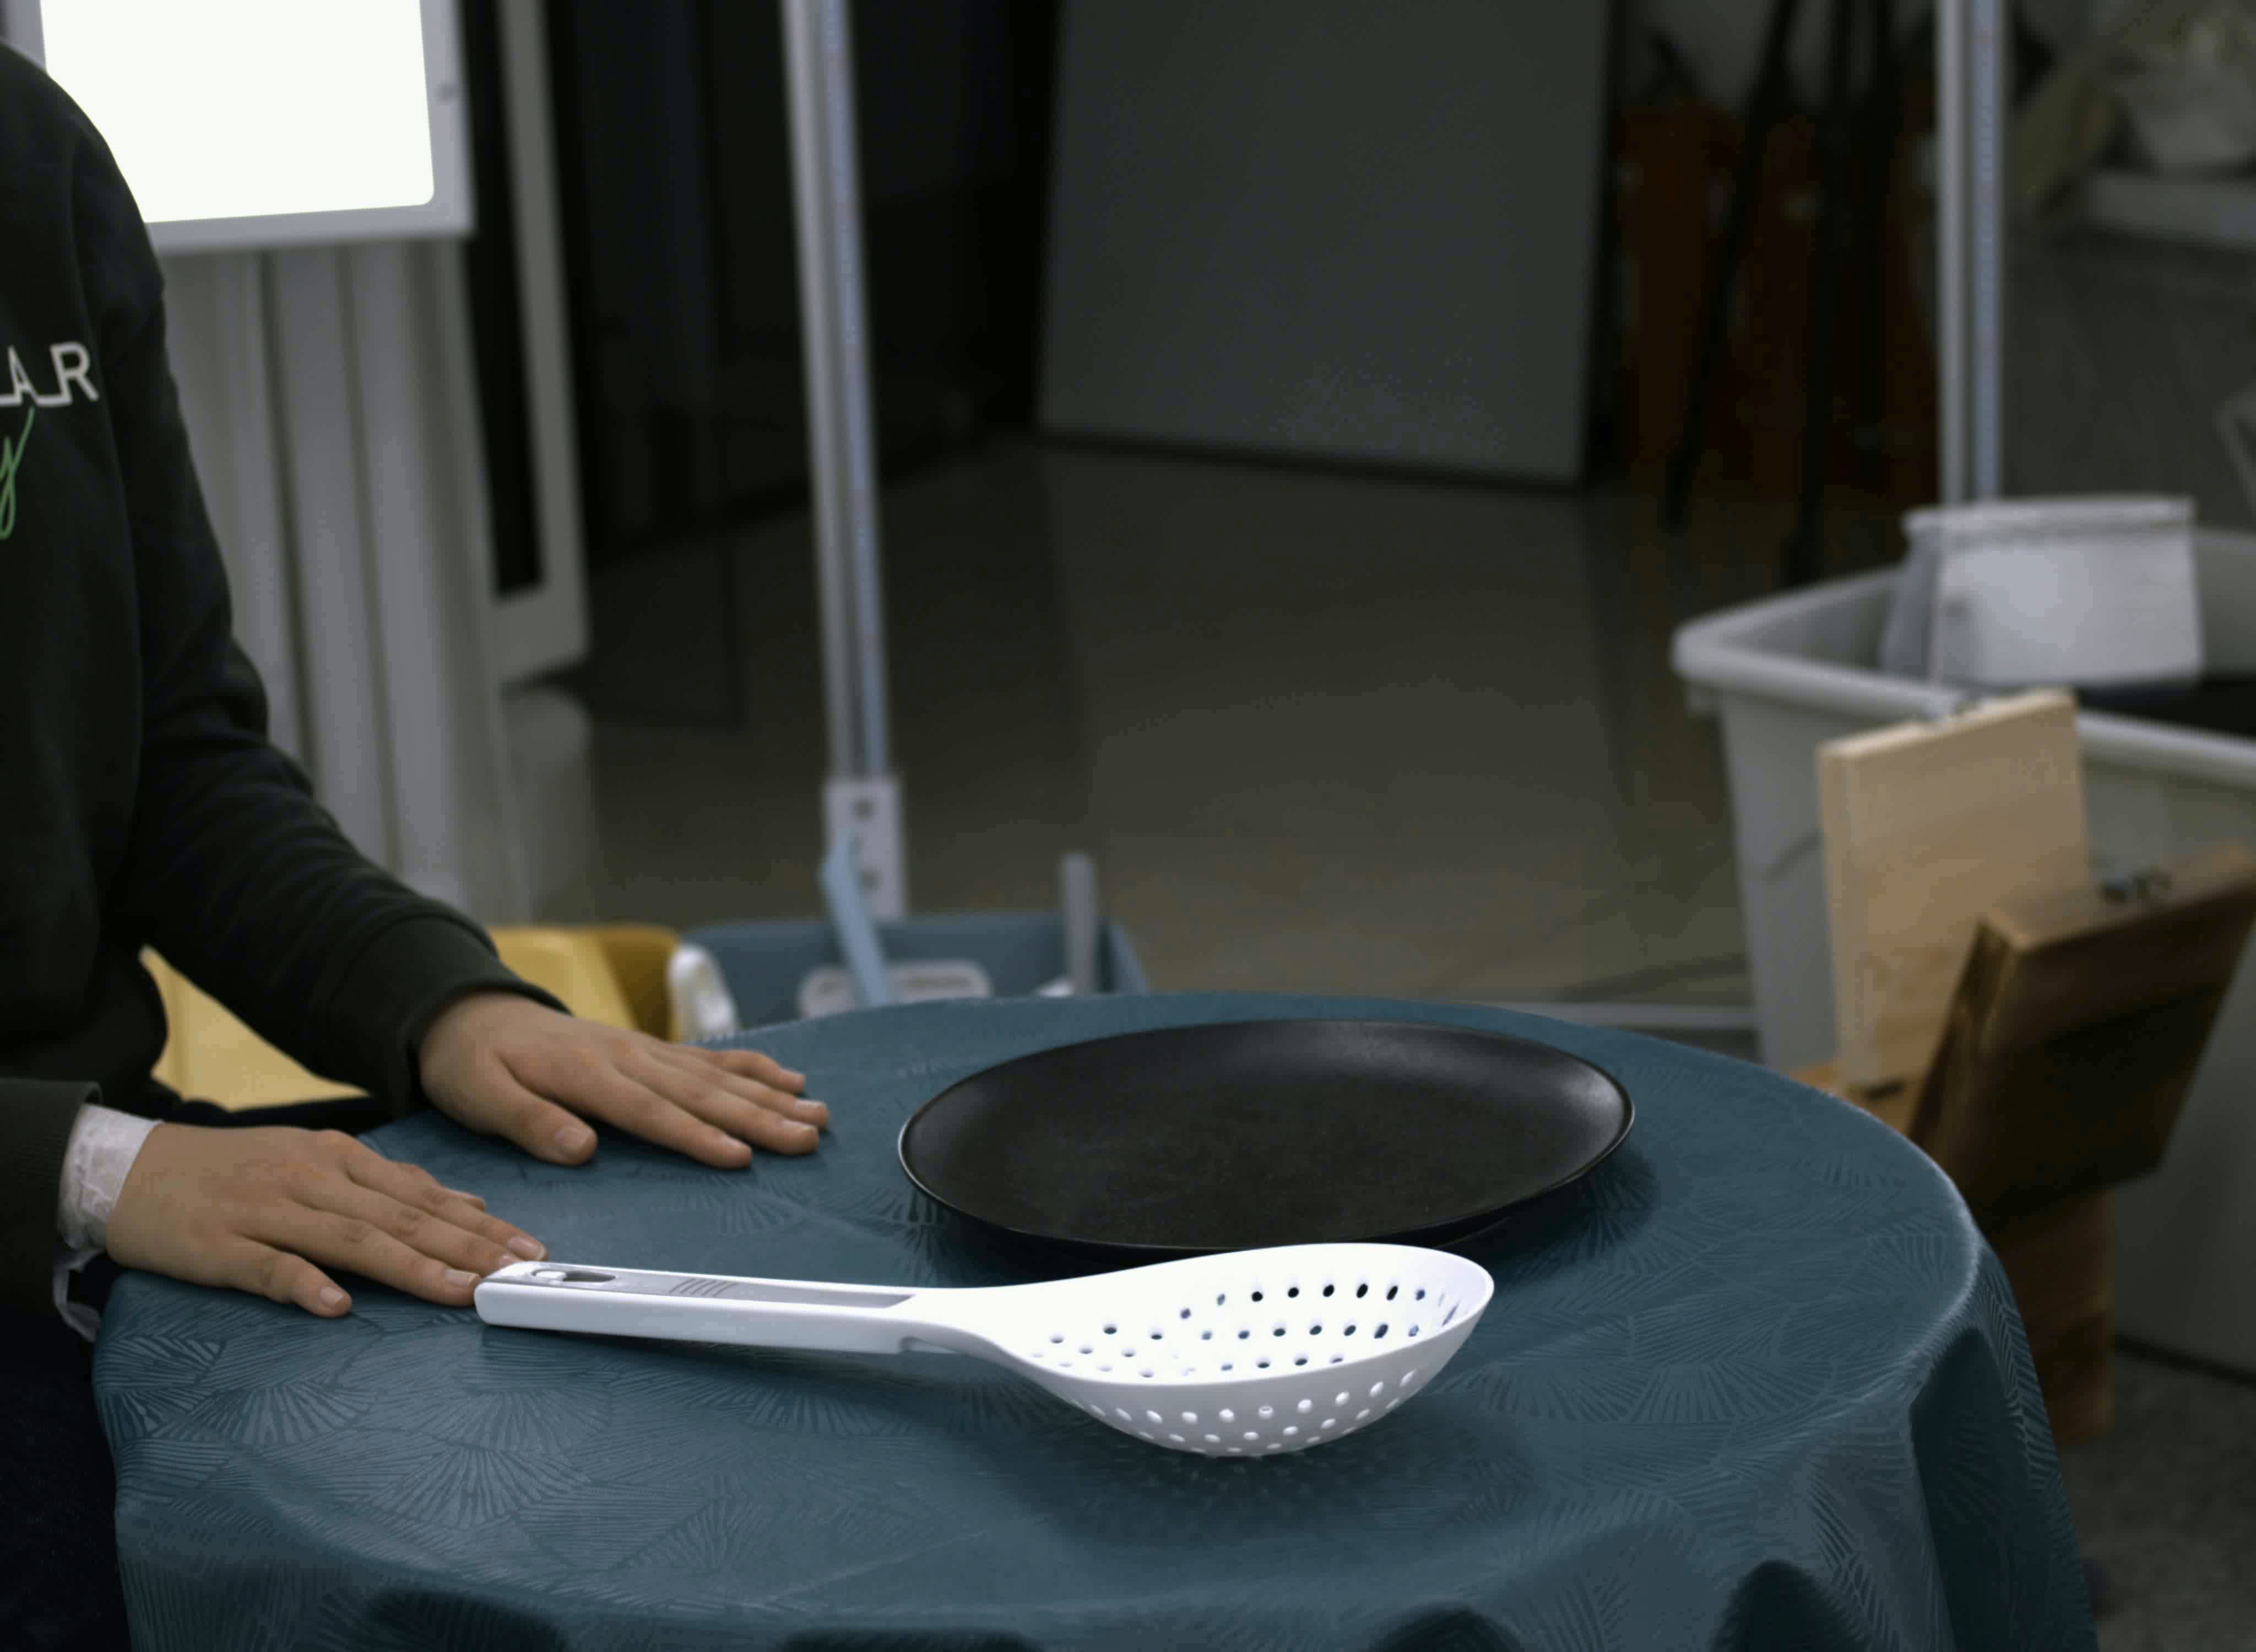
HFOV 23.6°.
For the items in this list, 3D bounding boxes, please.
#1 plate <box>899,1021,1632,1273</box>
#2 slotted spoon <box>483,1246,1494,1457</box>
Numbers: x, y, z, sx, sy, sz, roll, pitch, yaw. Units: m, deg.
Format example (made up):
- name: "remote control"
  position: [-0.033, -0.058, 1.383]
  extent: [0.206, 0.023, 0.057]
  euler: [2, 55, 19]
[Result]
- name: "plate"
  position: [0.046, 0.108, 1.763]
  extent: [0.241, 0.024, 0.245]
  euler: [-4, 14, 0]
- name: "slotted spoon"
  position: [-0.051, 0.146, 1.590]
  extent: [0.351, 0.046, 0.134]
  euler: [4, 14, 34]
